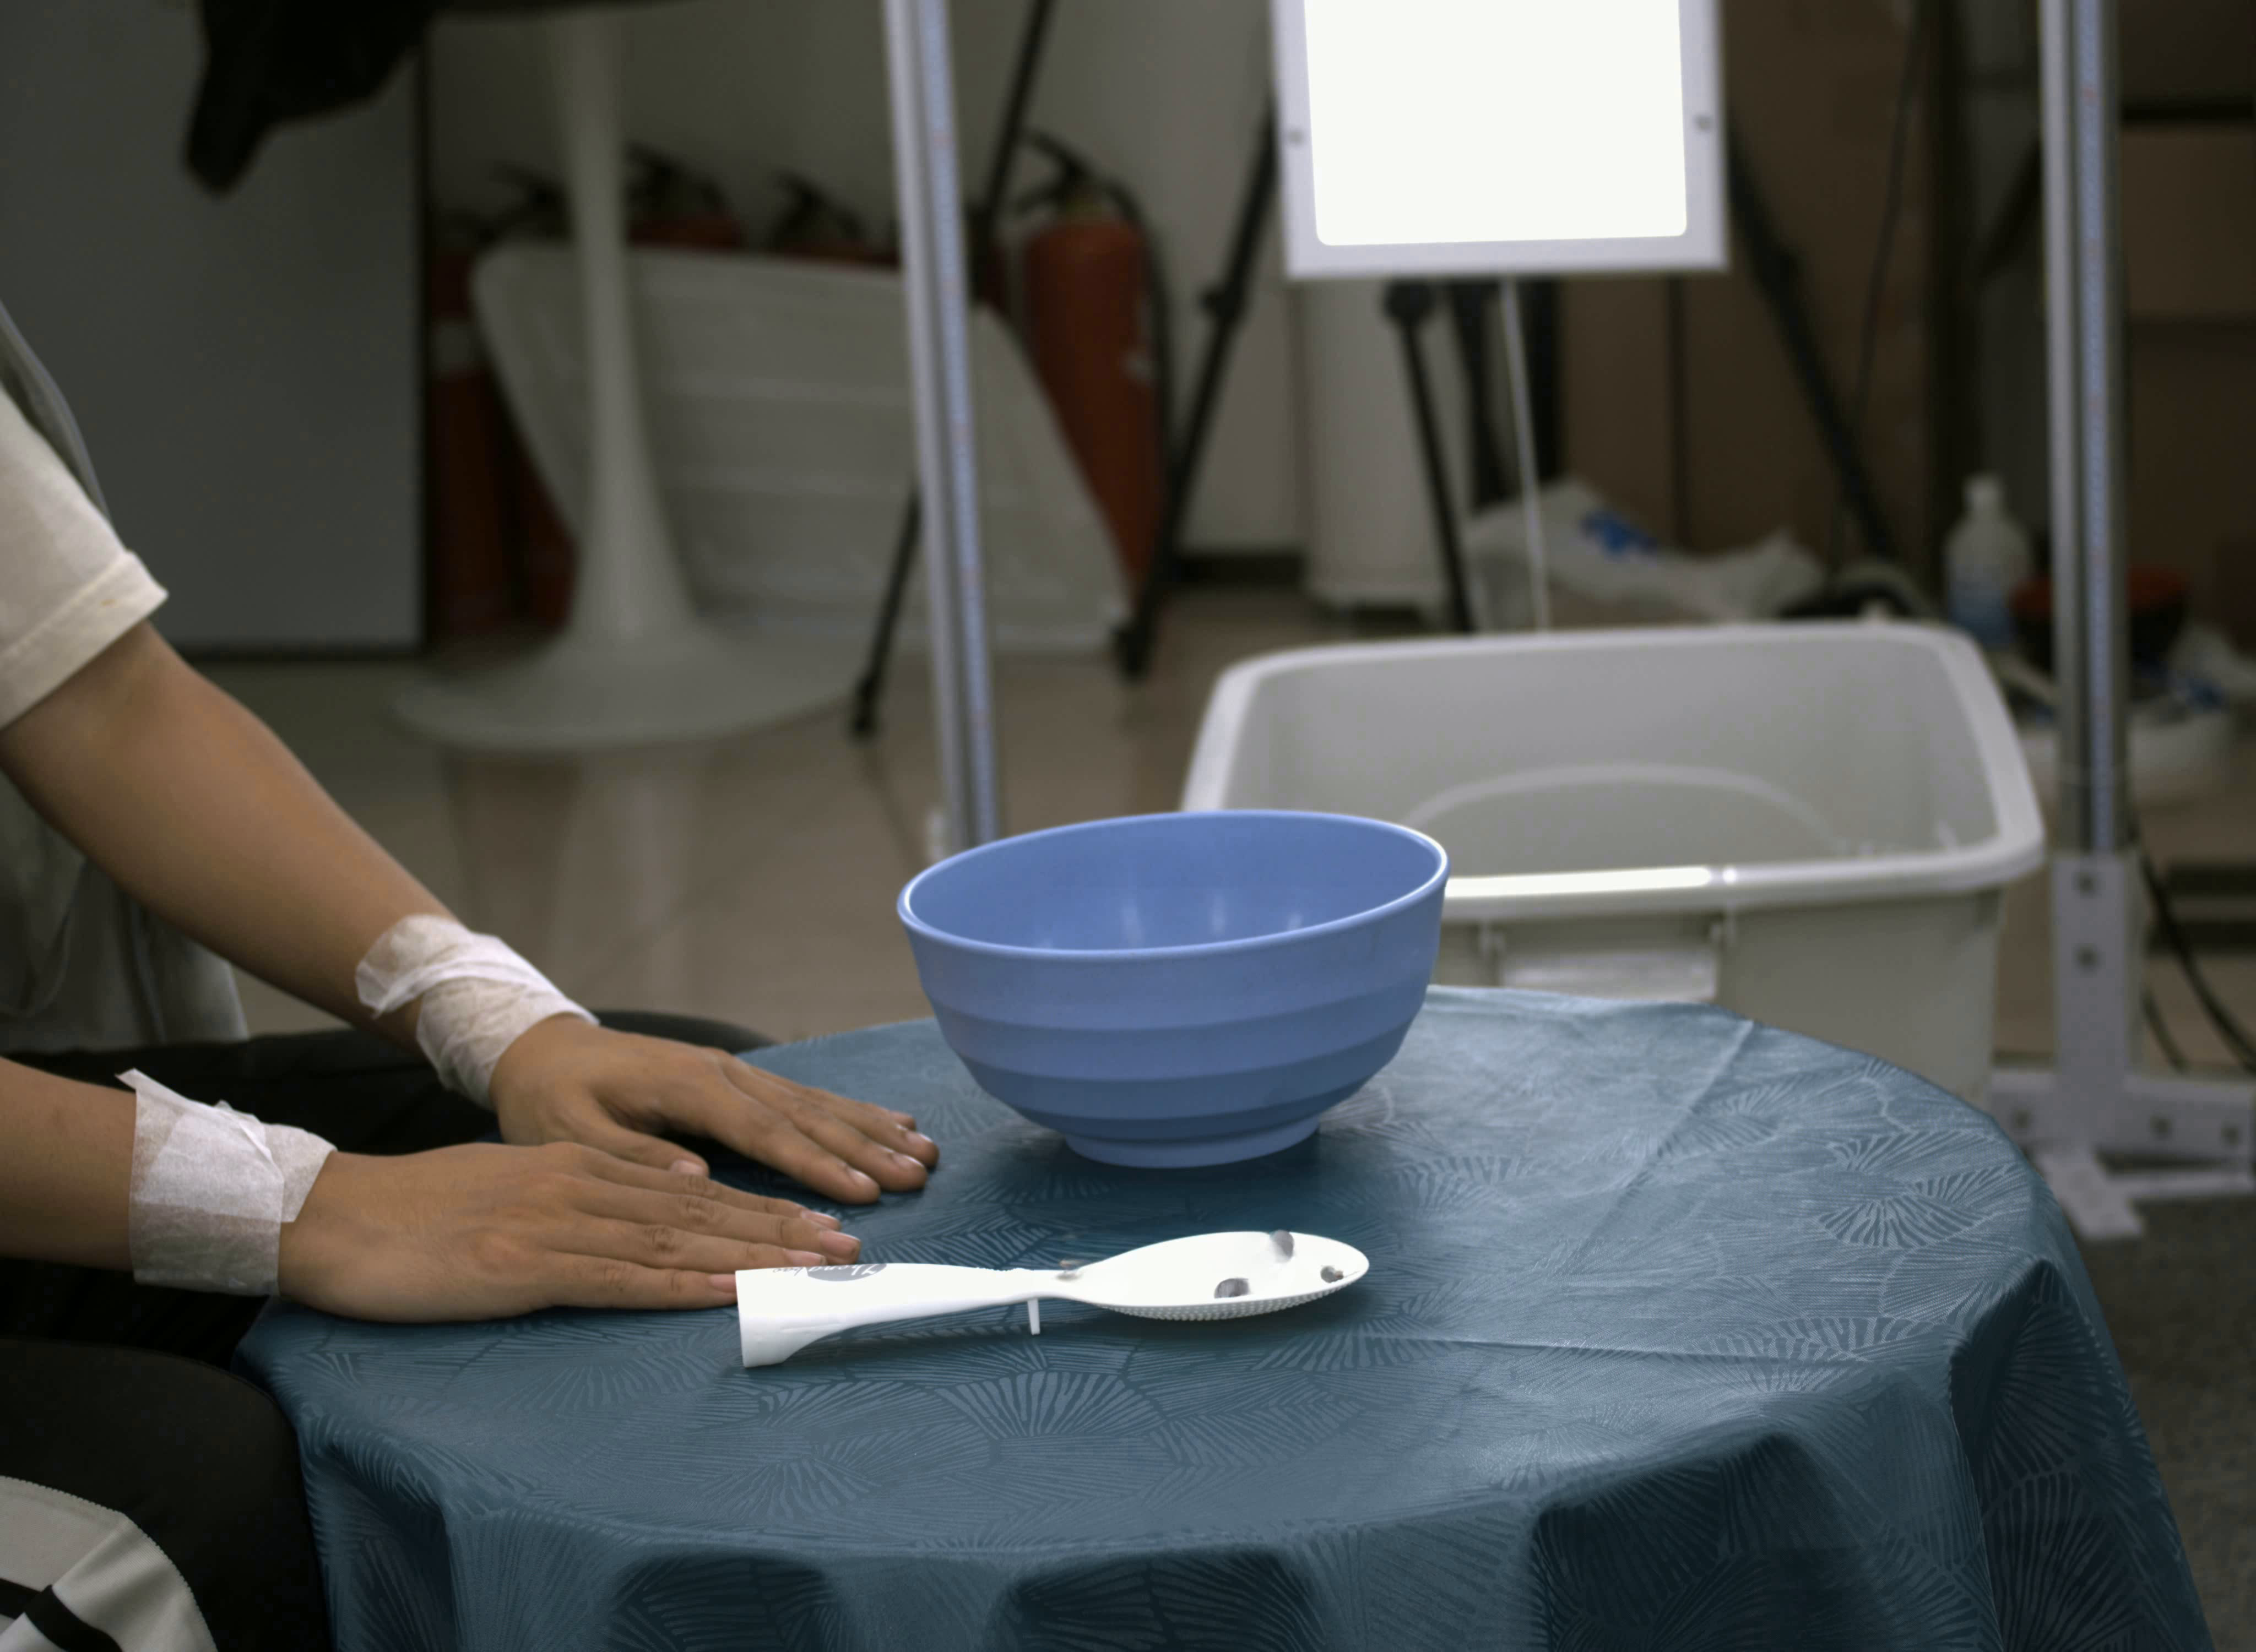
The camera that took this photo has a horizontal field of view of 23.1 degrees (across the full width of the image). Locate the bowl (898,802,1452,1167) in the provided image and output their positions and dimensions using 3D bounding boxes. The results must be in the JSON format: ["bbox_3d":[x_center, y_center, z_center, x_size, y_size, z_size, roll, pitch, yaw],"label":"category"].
[{"bbox_3d":[0.019,0.062,1.950,0.196,0.096,0.196,-4,15,0],"label":"bowl"}]

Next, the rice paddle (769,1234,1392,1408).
[{"bbox_3d":[-0.013,0.150,1.763,0.203,0.029,0.069,-12,2,-11],"label":"rice paddle"}]
